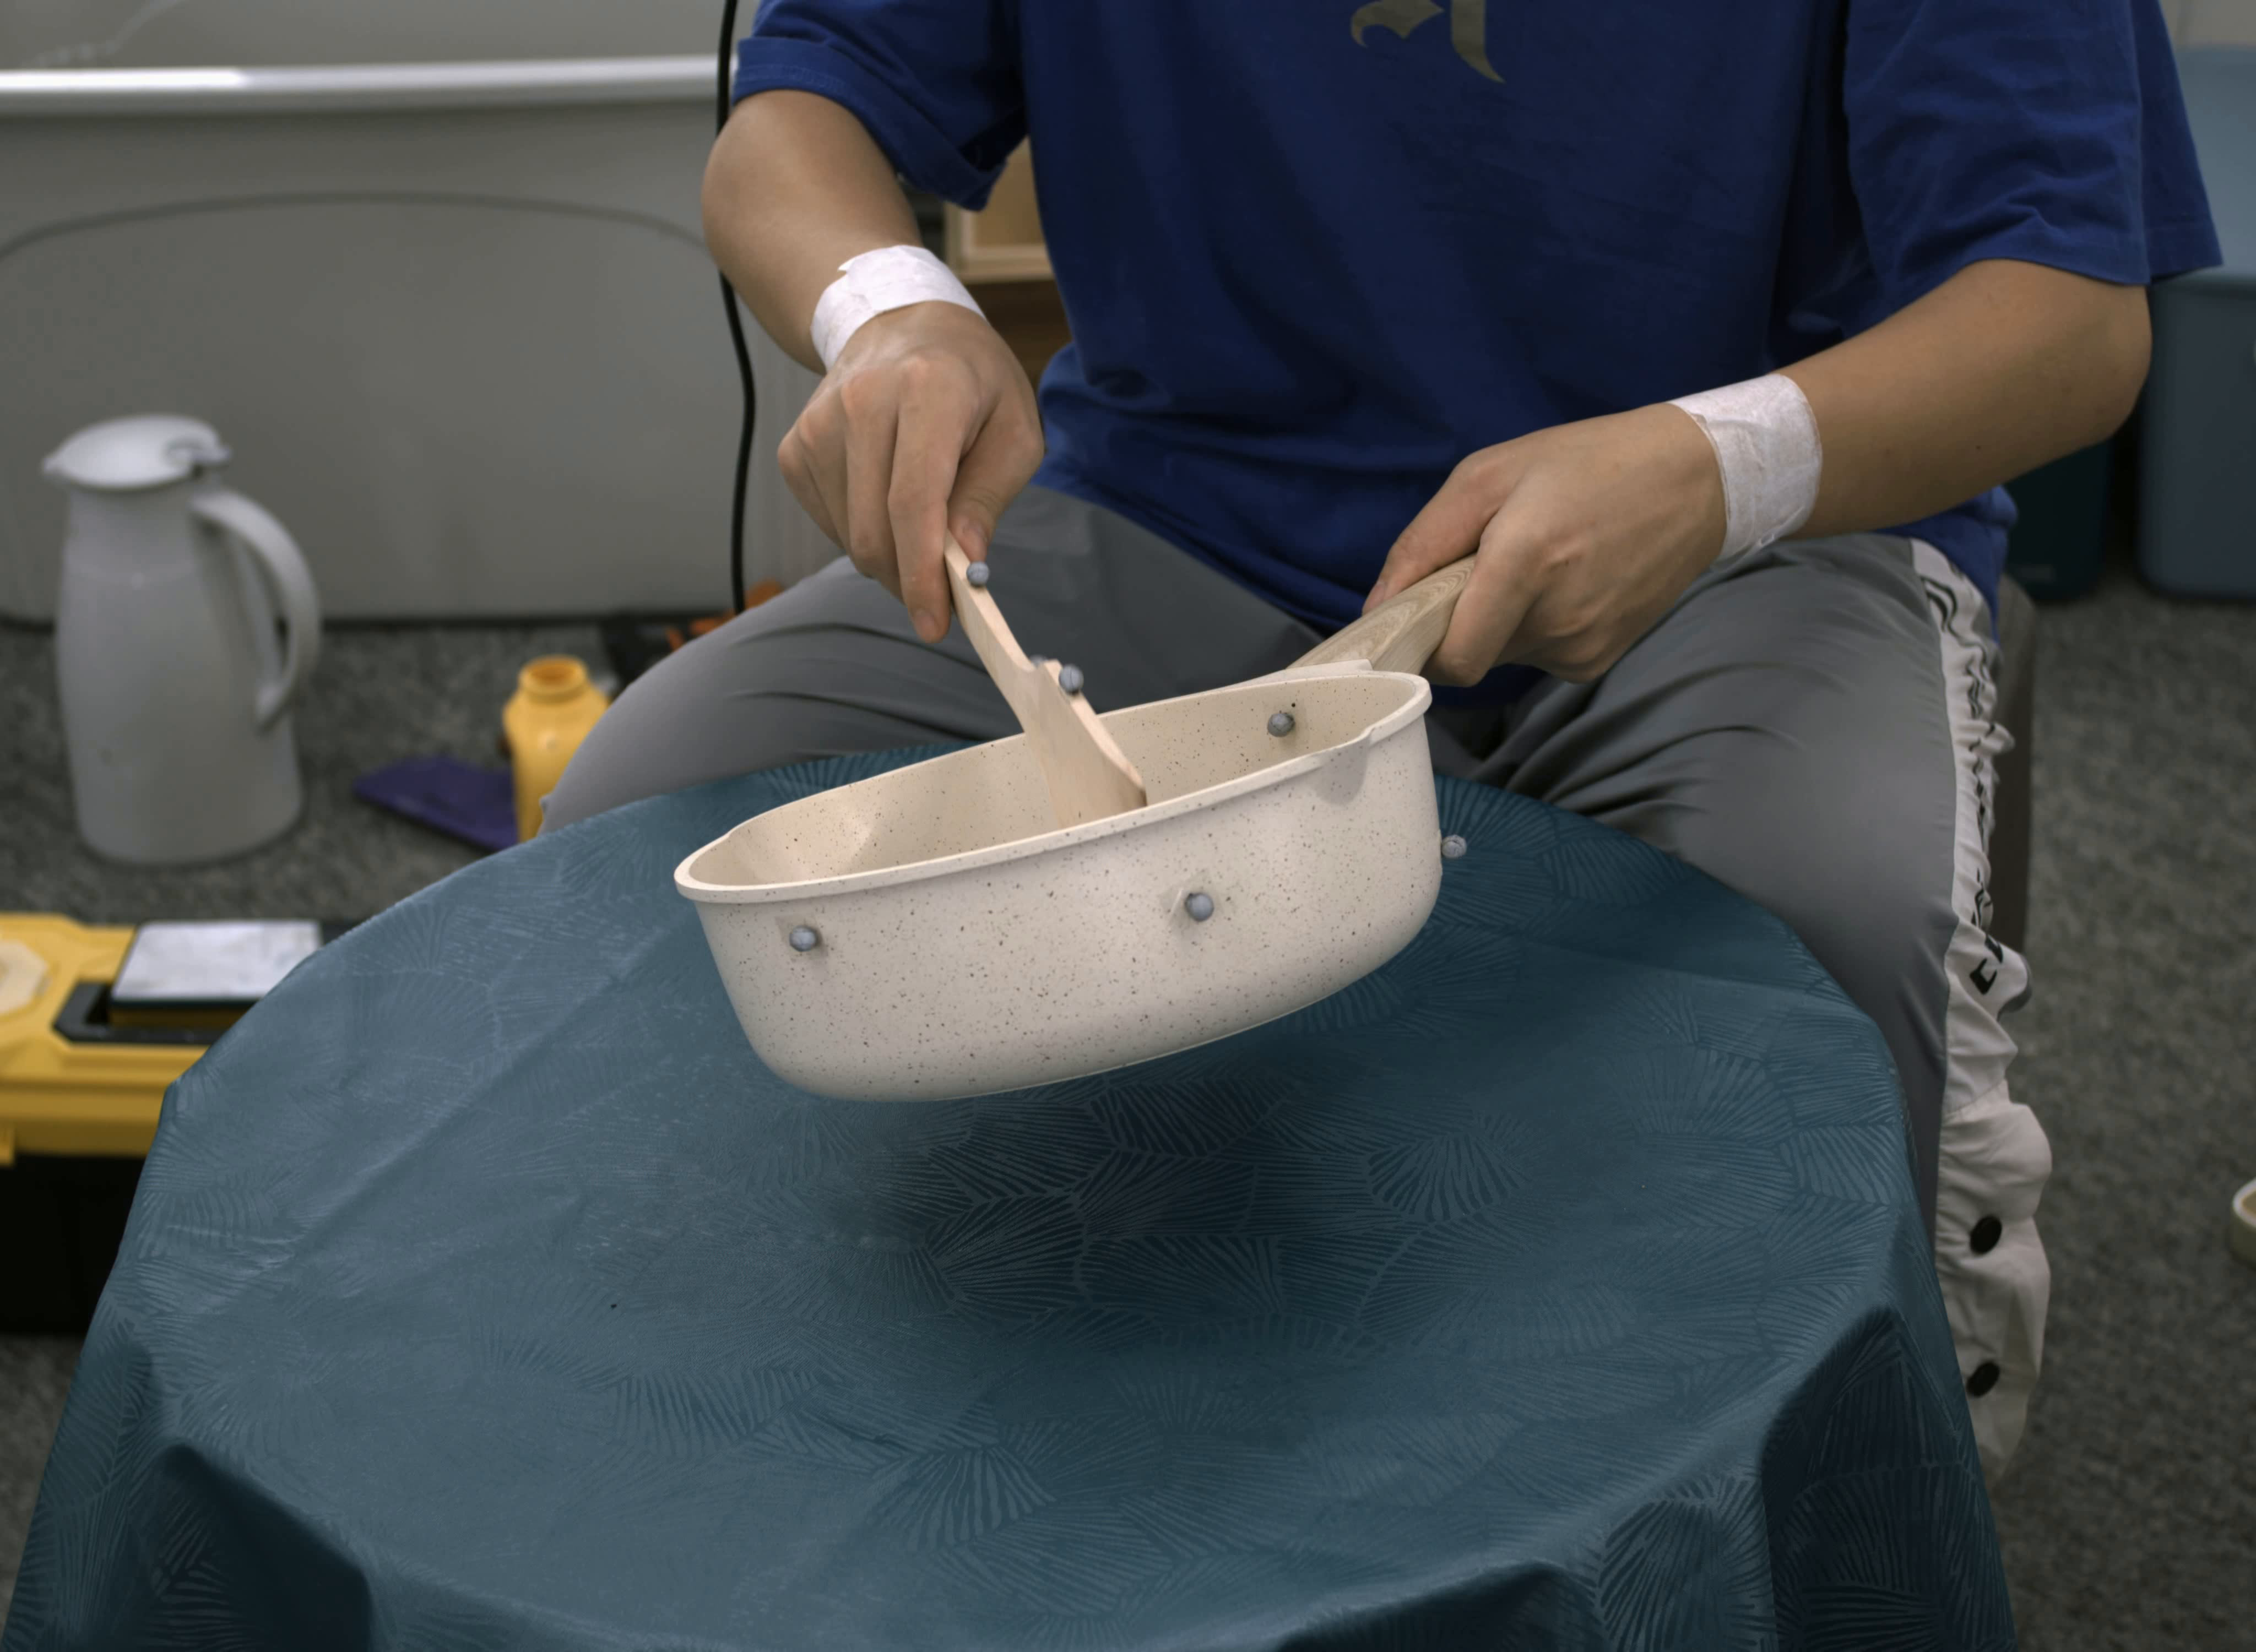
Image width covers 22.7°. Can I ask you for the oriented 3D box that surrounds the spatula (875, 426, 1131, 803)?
[{"bbox_3d":[-0.043,-0.062,1.905,0.010,0.071,0.296,-16,34,-11],"label":"spatula"}]

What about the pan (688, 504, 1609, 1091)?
[{"bbox_3d":[0.044,-0.012,1.881,0.260,0.102,0.440,-9,9,41],"label":"pan"}]
